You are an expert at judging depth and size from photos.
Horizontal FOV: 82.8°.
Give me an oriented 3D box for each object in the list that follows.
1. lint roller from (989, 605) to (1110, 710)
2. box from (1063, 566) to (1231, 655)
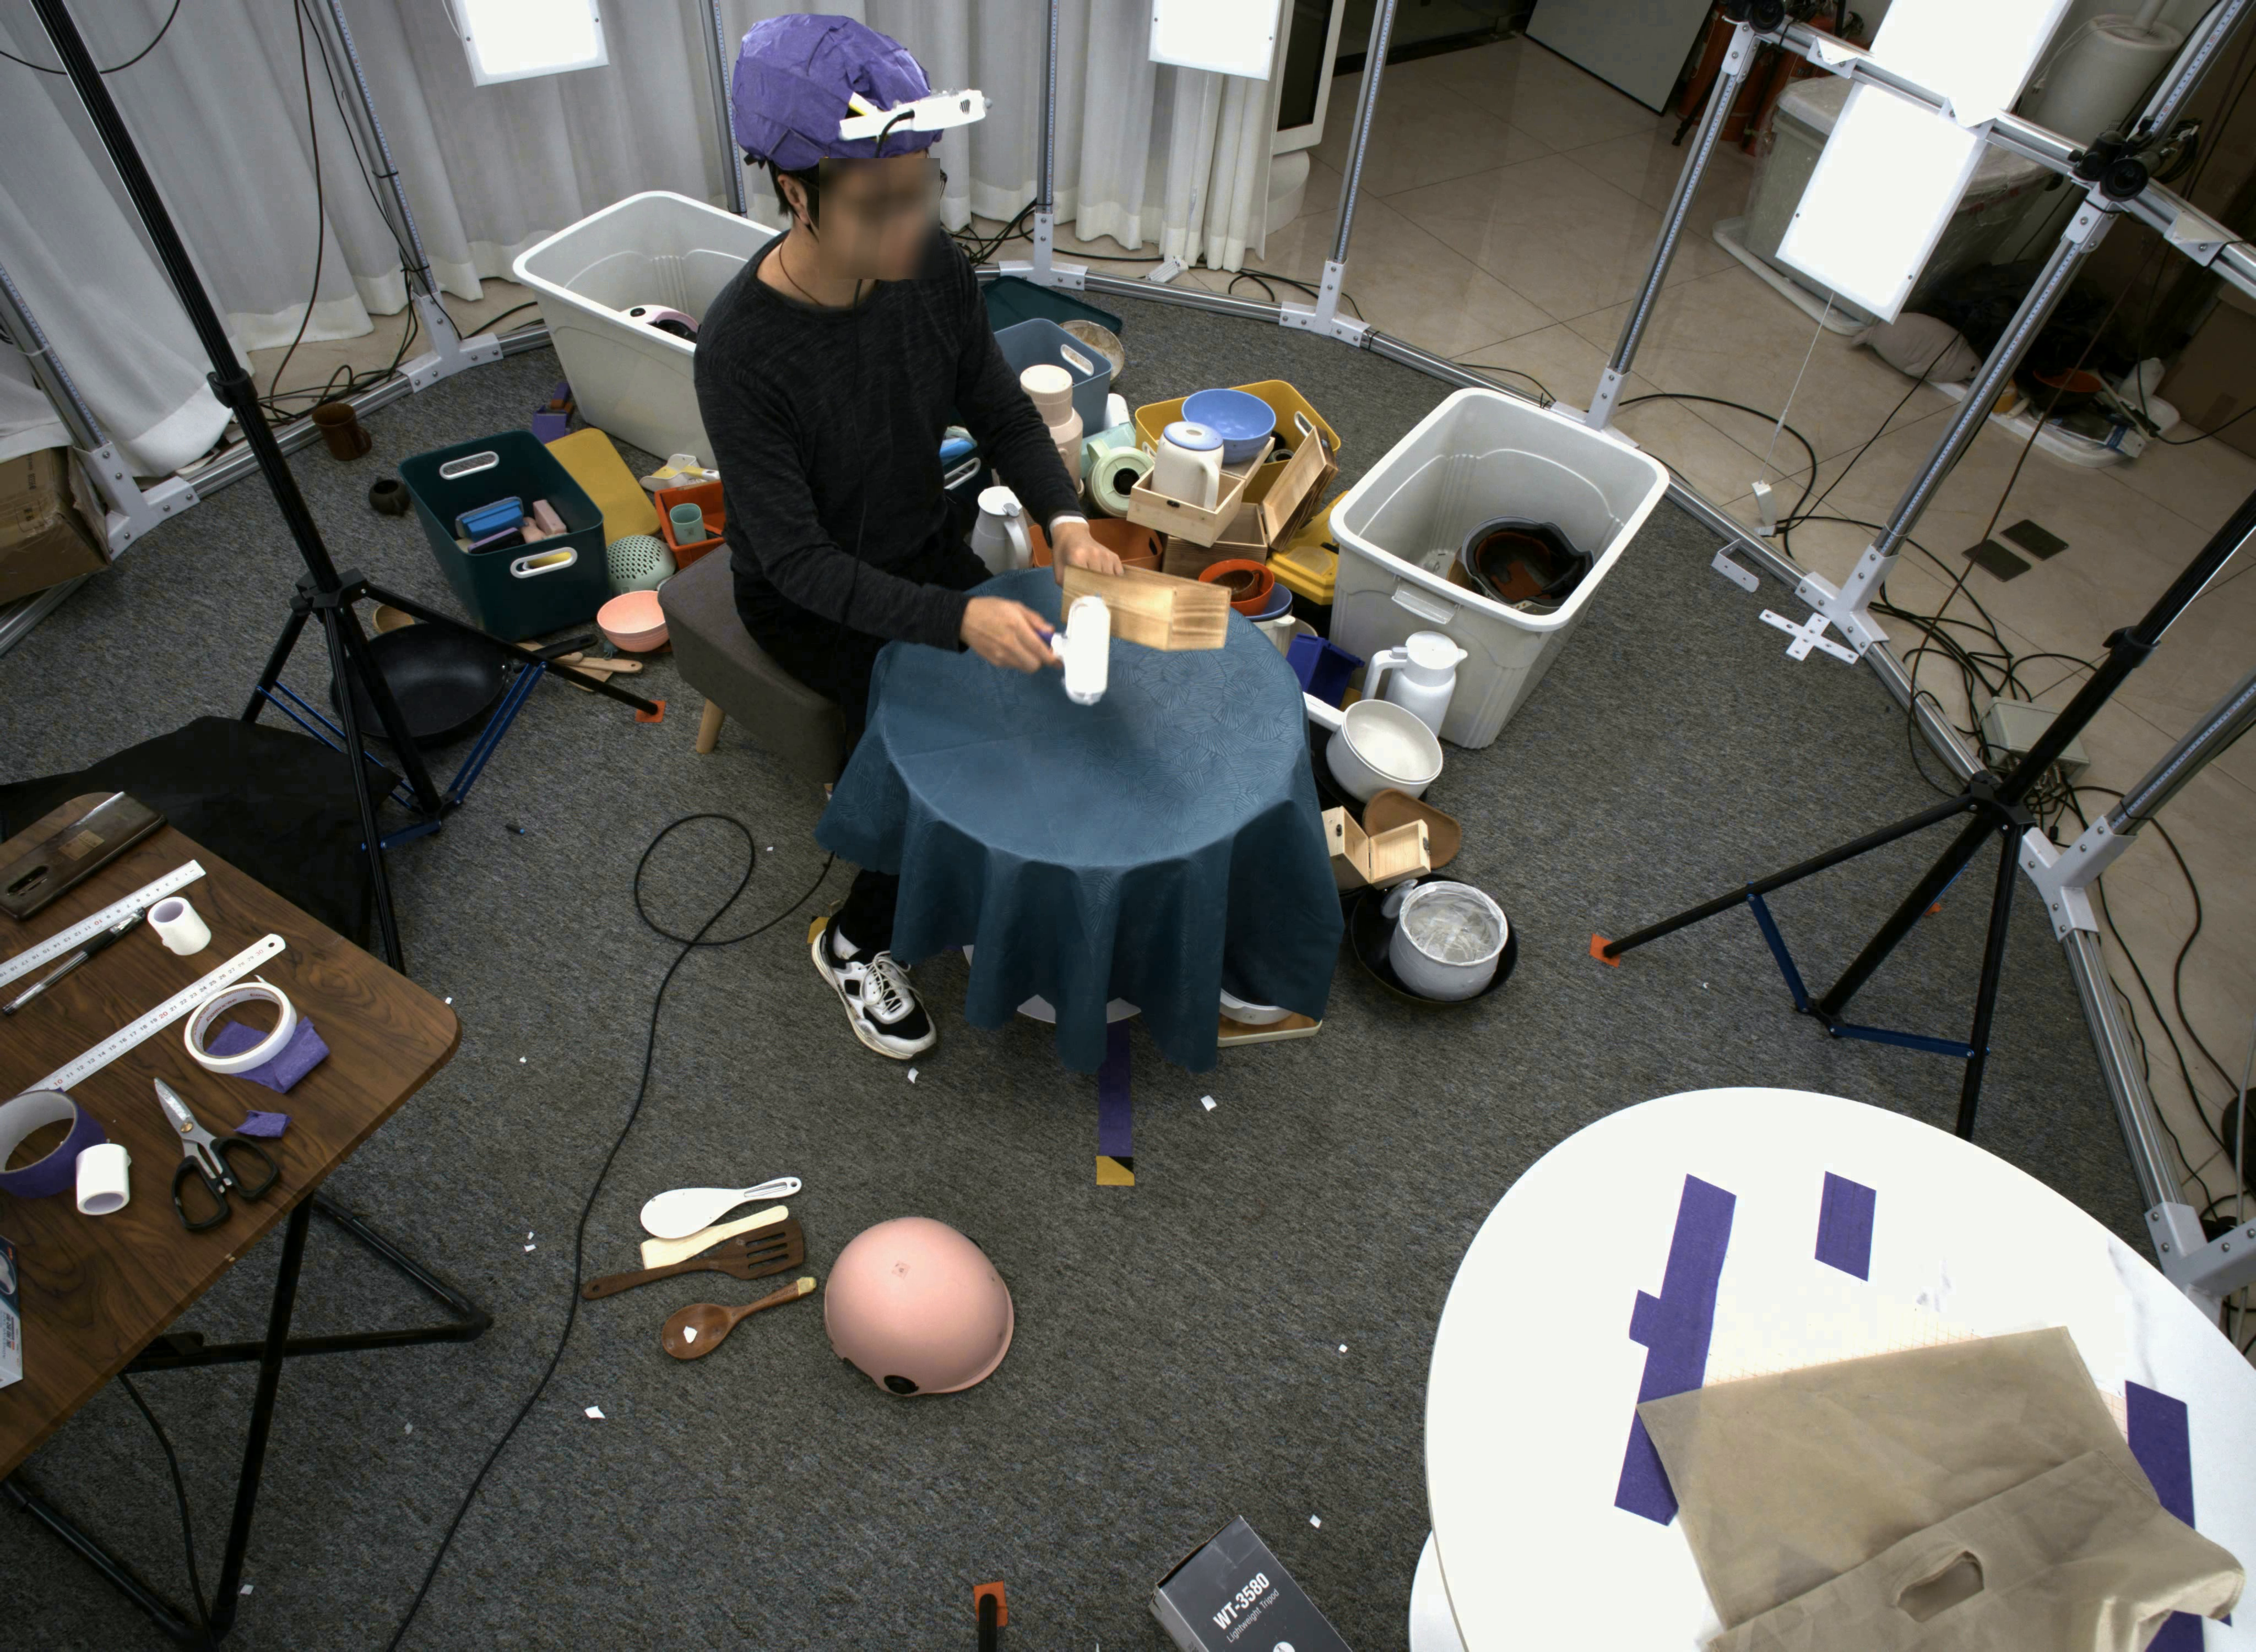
[{"bbox_3d":[-0.109,-0.228,1.664,0.182,0.131,0.050,12,14,22],"label":"lint roller"},{"bbox_3d":[0.022,-0.288,1.704,0.107,0.079,0.214,-11,24,-41],"label":"box"}]
